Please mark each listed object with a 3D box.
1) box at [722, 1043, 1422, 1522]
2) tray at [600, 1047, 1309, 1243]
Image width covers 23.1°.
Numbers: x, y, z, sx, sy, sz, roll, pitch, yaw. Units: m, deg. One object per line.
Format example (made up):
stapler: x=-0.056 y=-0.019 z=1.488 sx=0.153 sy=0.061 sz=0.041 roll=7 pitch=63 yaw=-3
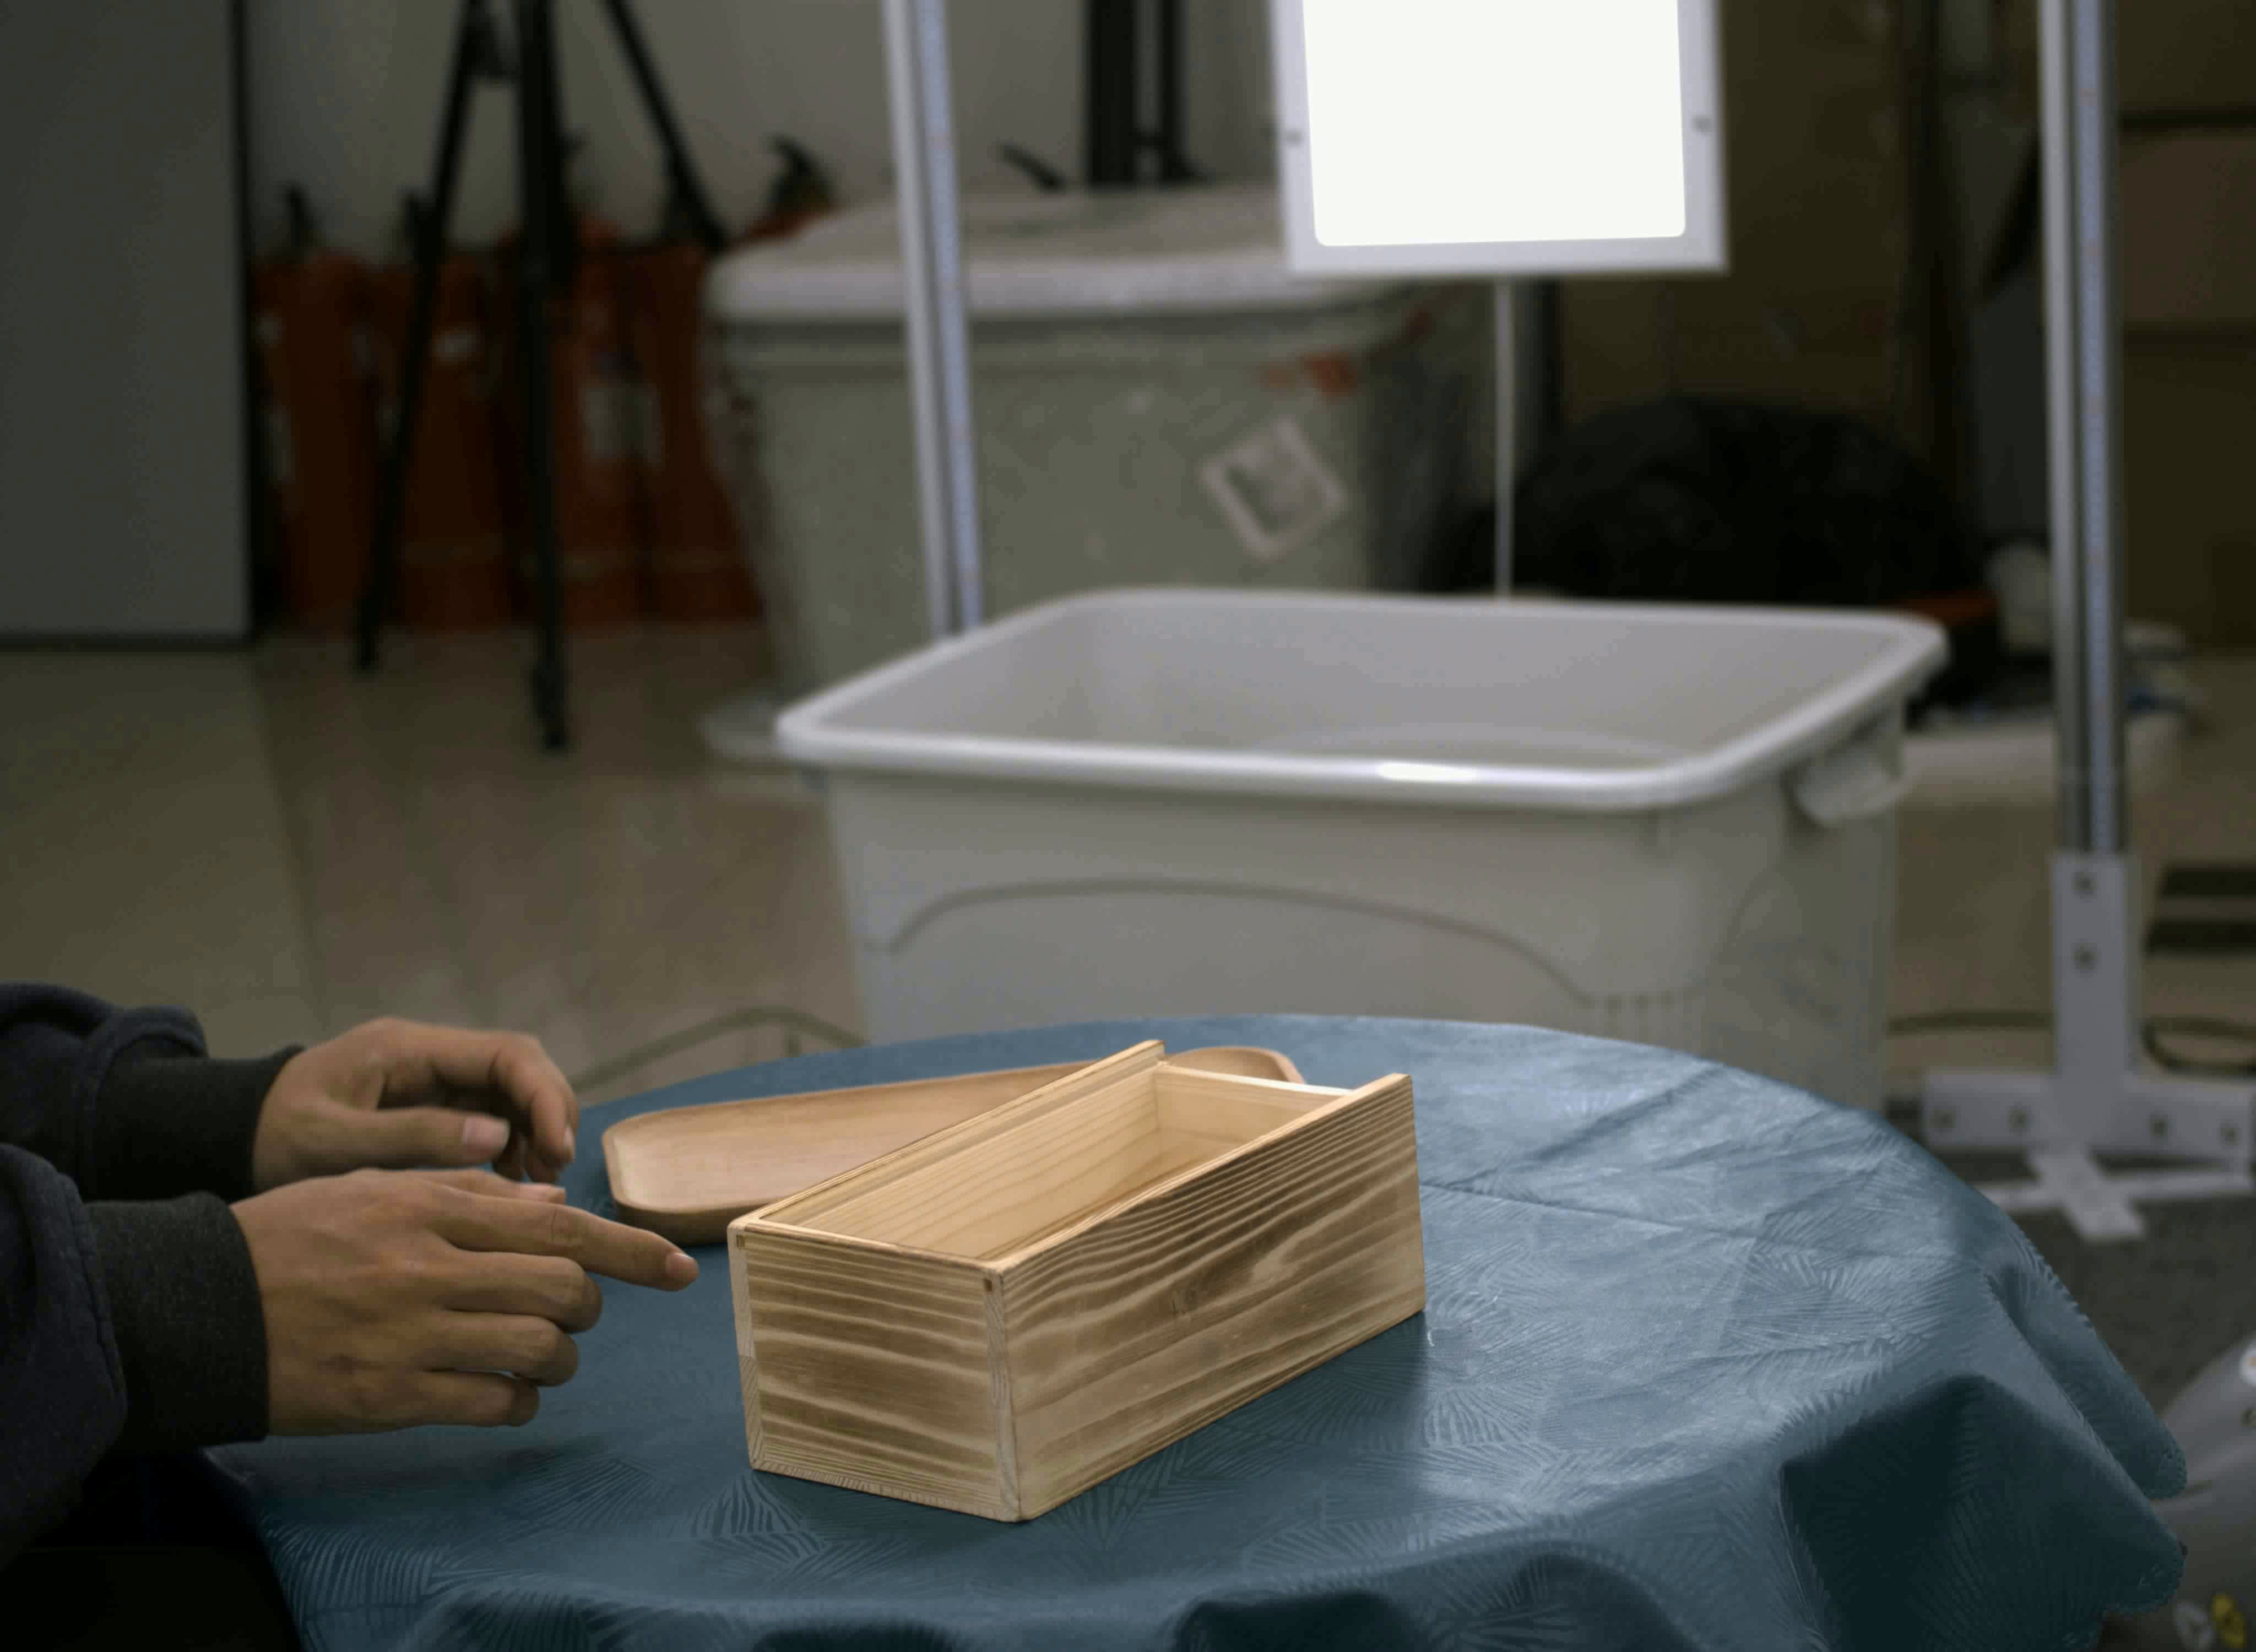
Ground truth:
box: x=-0.013 y=0.136 z=1.696 sx=0.110 sy=0.080 sz=0.206 roll=6 pitch=18 yaw=38
tray: x=-0.059 y=0.112 z=1.942 sx=0.249 sy=0.023 sz=0.131 roll=-7 pitch=11 yaw=-5
